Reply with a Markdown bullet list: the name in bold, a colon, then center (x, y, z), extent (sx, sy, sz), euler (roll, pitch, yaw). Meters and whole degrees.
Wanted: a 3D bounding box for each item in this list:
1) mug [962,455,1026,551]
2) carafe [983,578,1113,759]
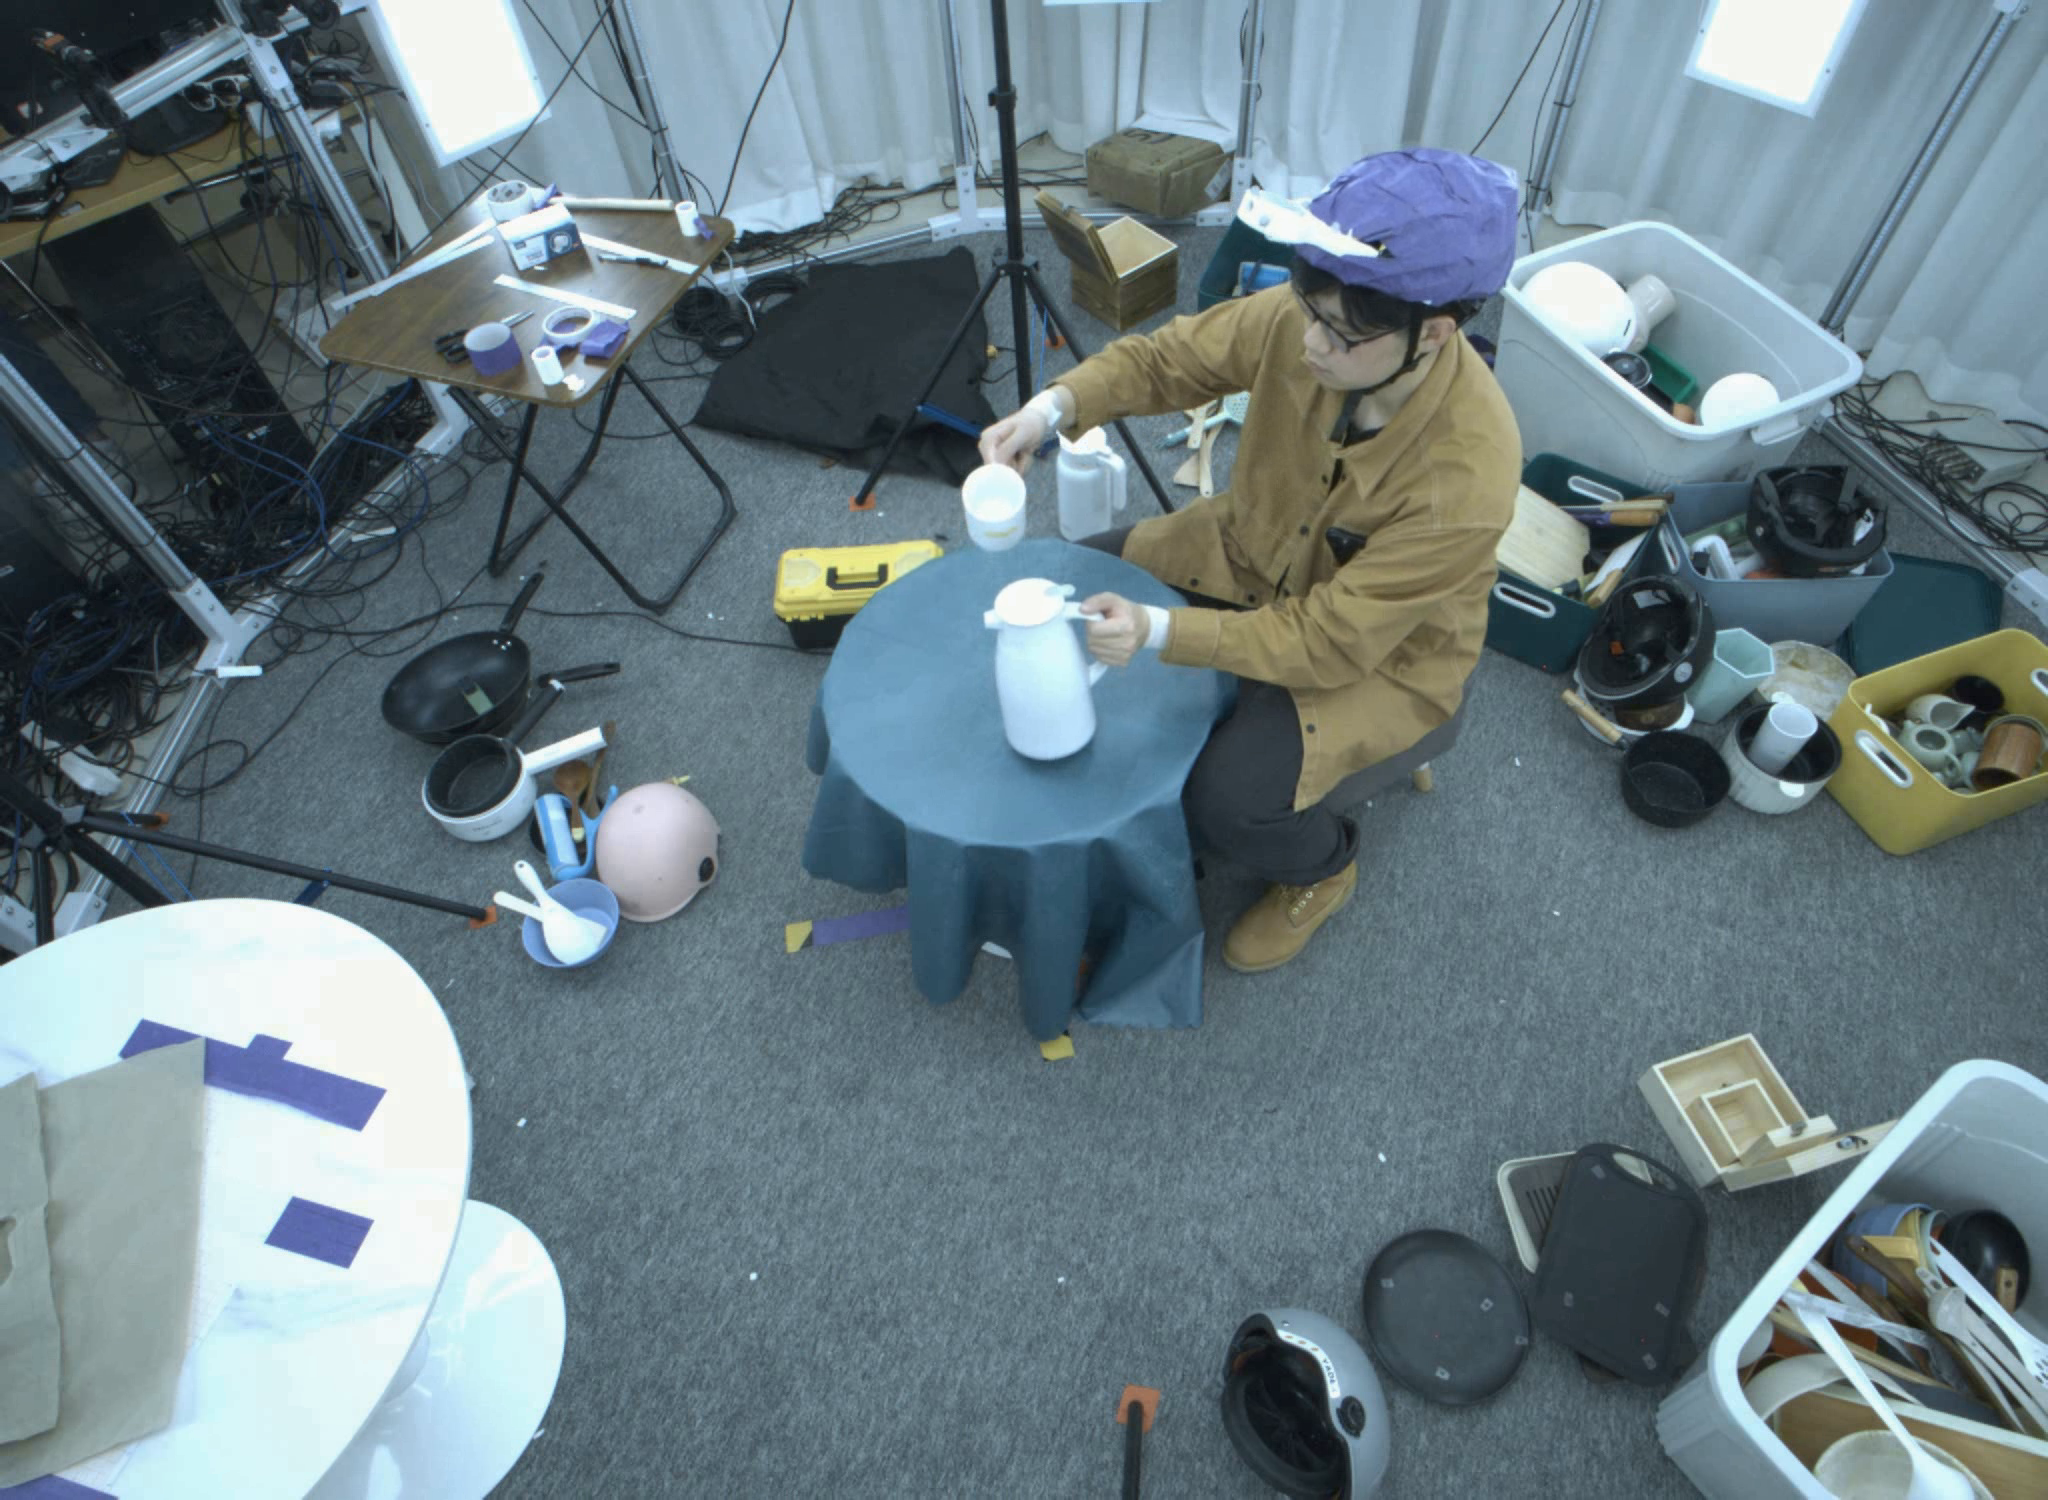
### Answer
- **mug**: center (-0.039, -0.347, 1.695), extent (0.085, 0.102, 0.118), euler (6, 74, 2)
- **carafe**: center (0.039, -0.122, 1.681), extent (0.168, 0.252, 0.130), euler (-12, 48, -1)
